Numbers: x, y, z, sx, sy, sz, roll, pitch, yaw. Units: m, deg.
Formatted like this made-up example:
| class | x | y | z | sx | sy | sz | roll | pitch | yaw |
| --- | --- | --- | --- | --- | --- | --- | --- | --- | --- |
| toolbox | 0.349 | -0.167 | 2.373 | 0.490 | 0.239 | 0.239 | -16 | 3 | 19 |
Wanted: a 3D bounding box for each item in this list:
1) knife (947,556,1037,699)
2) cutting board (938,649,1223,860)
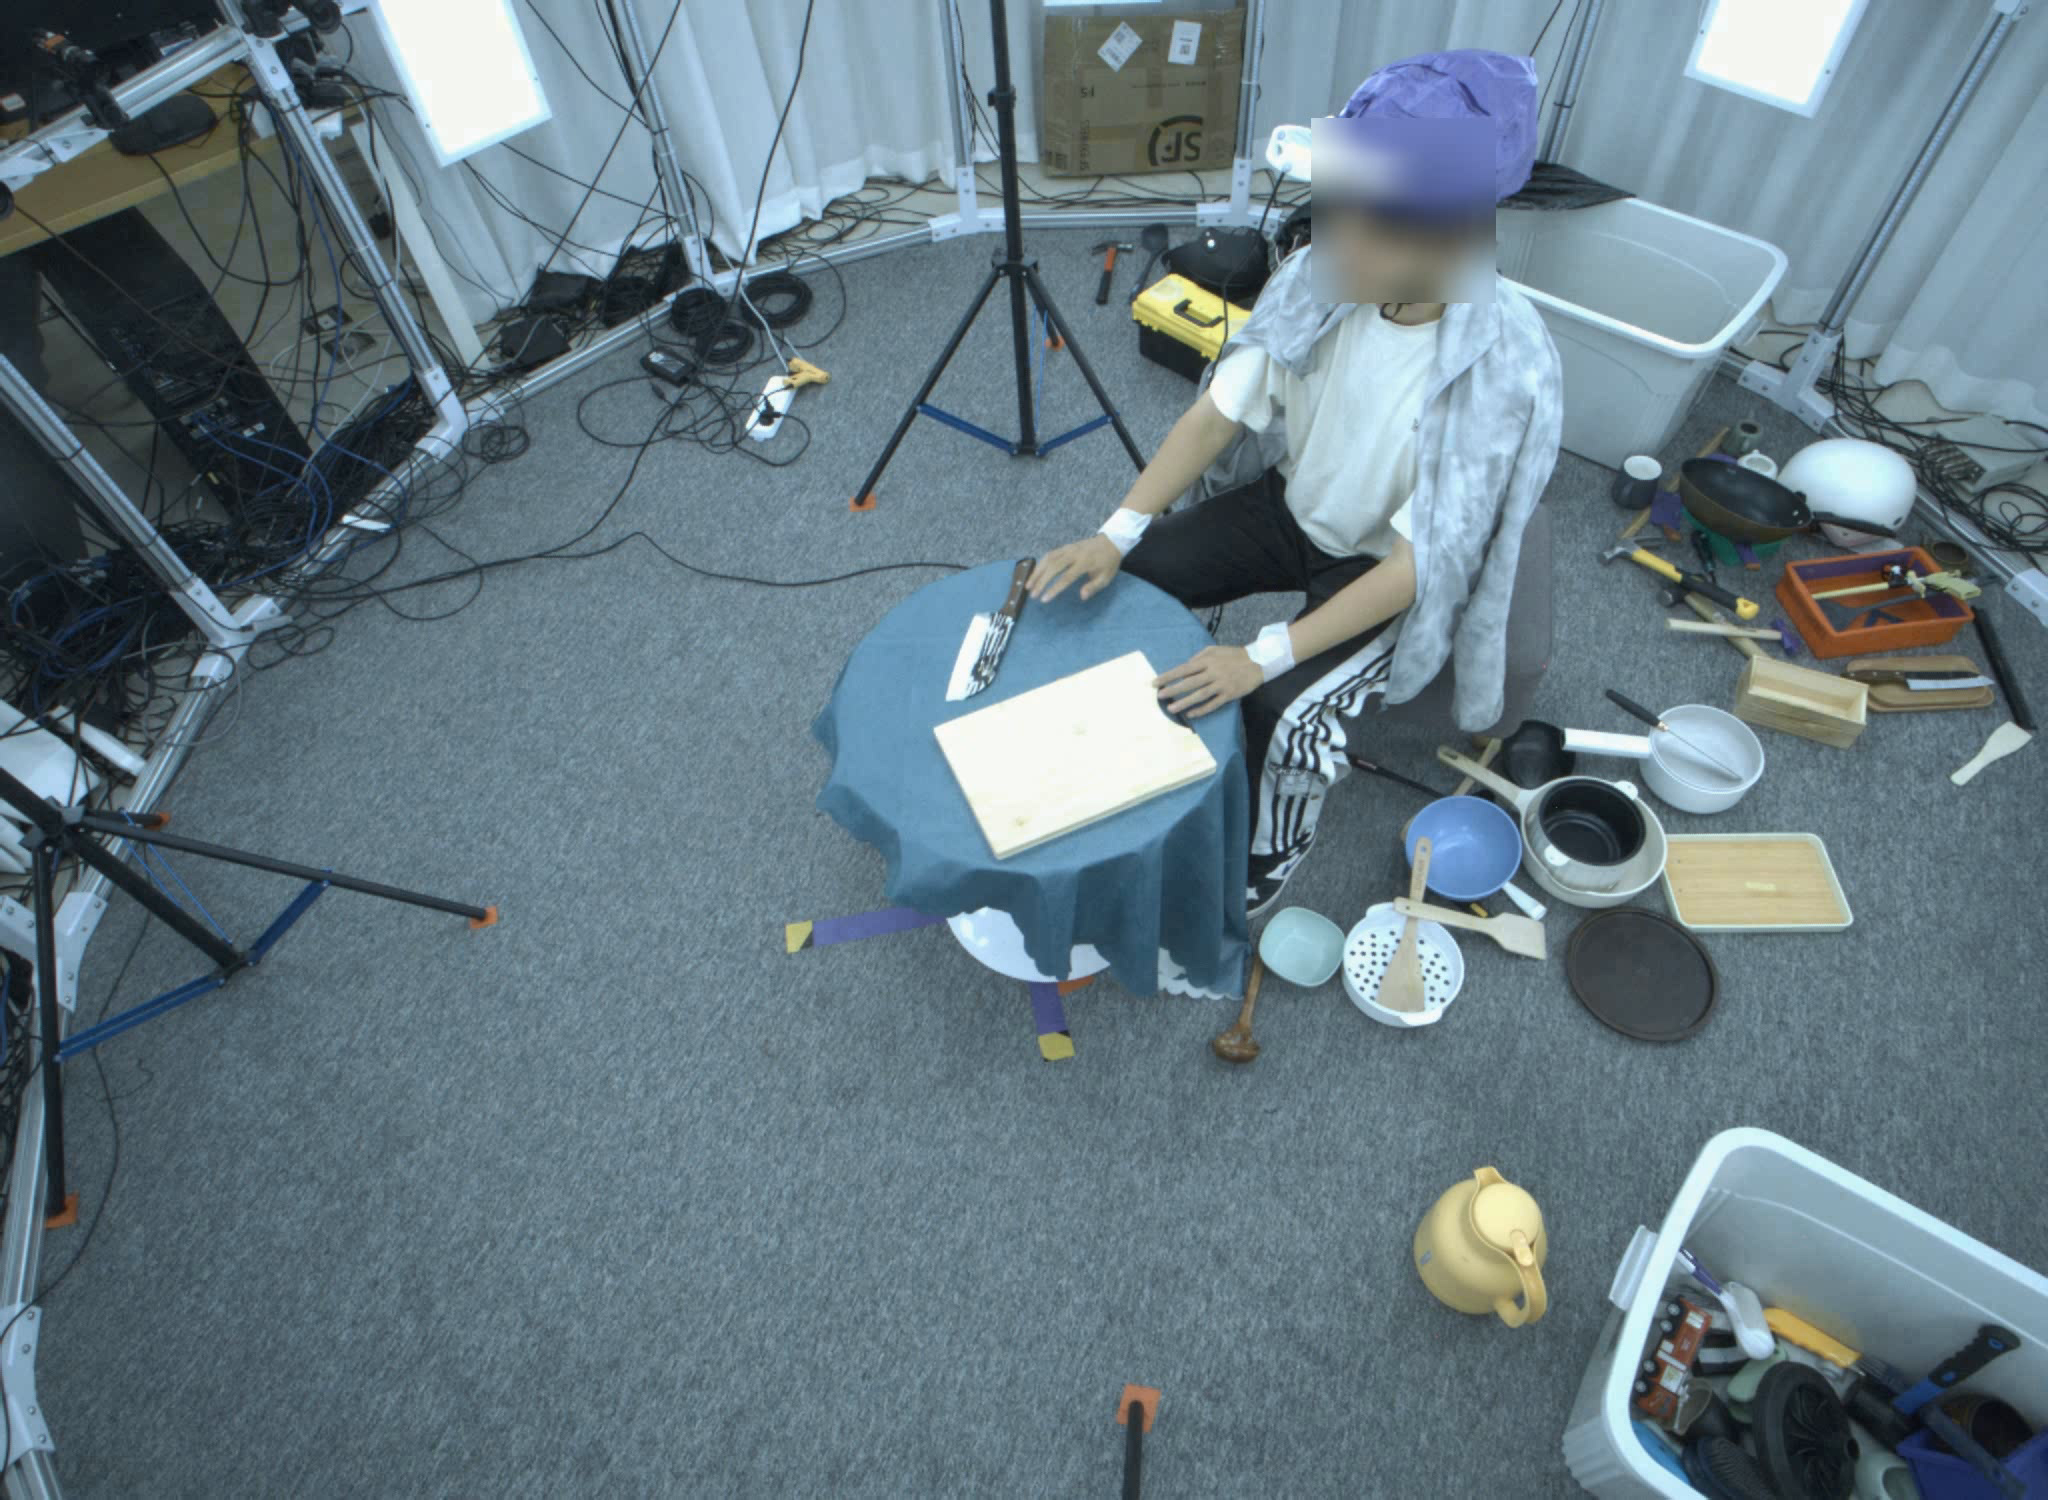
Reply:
| class | x | y | z | sx | sy | sz | roll | pitch | yaw |
| --- | --- | --- | --- | --- | --- | --- | --- | --- | --- |
| knife | -0.050 | -0.193 | 1.916 | 0.067 | 0.024 | 0.299 | 13 | 59 | 13 |
| cutting board | 0.075 | -0.002 | 1.779 | 0.351 | 0.024 | 0.246 | -22 | 57 | -13 |
